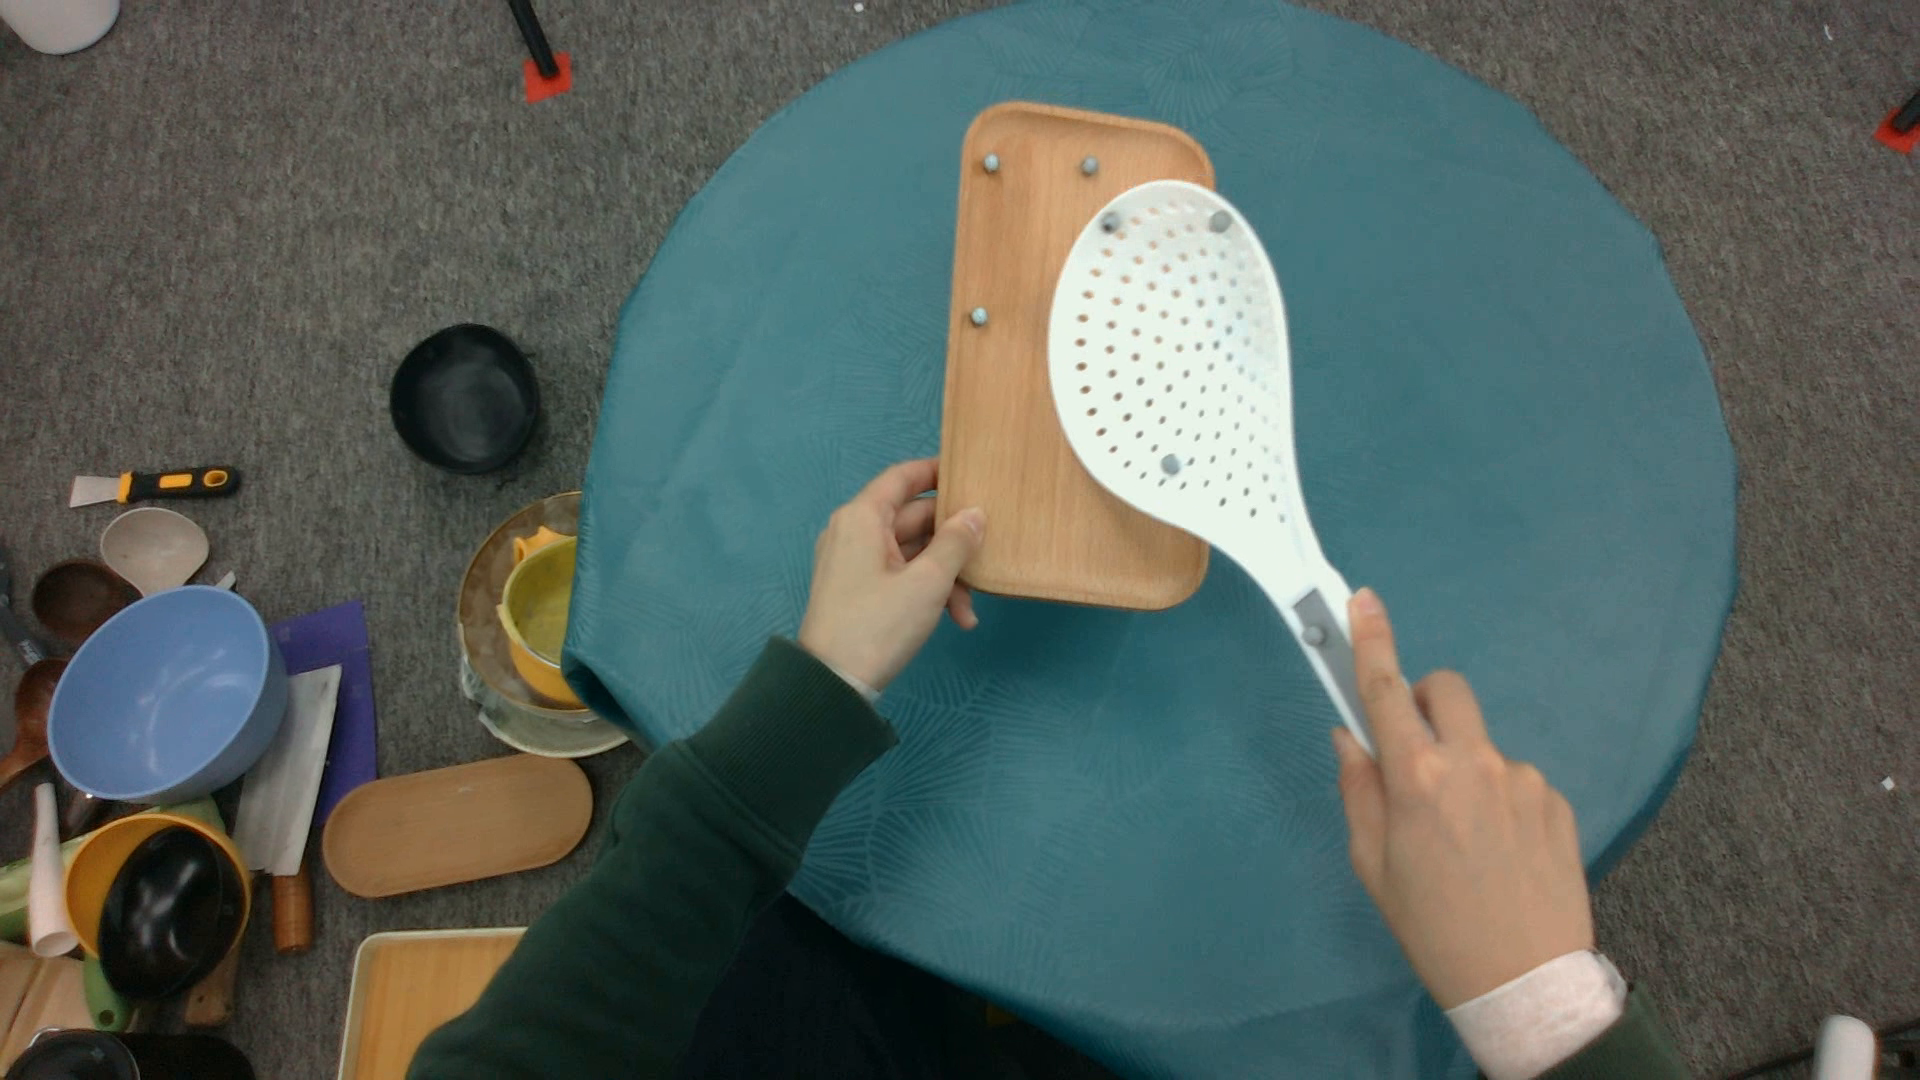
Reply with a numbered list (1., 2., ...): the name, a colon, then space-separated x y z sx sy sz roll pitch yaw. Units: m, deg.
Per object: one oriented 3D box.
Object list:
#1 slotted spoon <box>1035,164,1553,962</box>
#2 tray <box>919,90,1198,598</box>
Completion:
1. slotted spoon: 0.128 0.000 0.550 0.046 0.135 0.350 -6 61 -34
2. tray: 0.049 -0.096 0.651 0.130 0.023 0.251 6 73 -7
